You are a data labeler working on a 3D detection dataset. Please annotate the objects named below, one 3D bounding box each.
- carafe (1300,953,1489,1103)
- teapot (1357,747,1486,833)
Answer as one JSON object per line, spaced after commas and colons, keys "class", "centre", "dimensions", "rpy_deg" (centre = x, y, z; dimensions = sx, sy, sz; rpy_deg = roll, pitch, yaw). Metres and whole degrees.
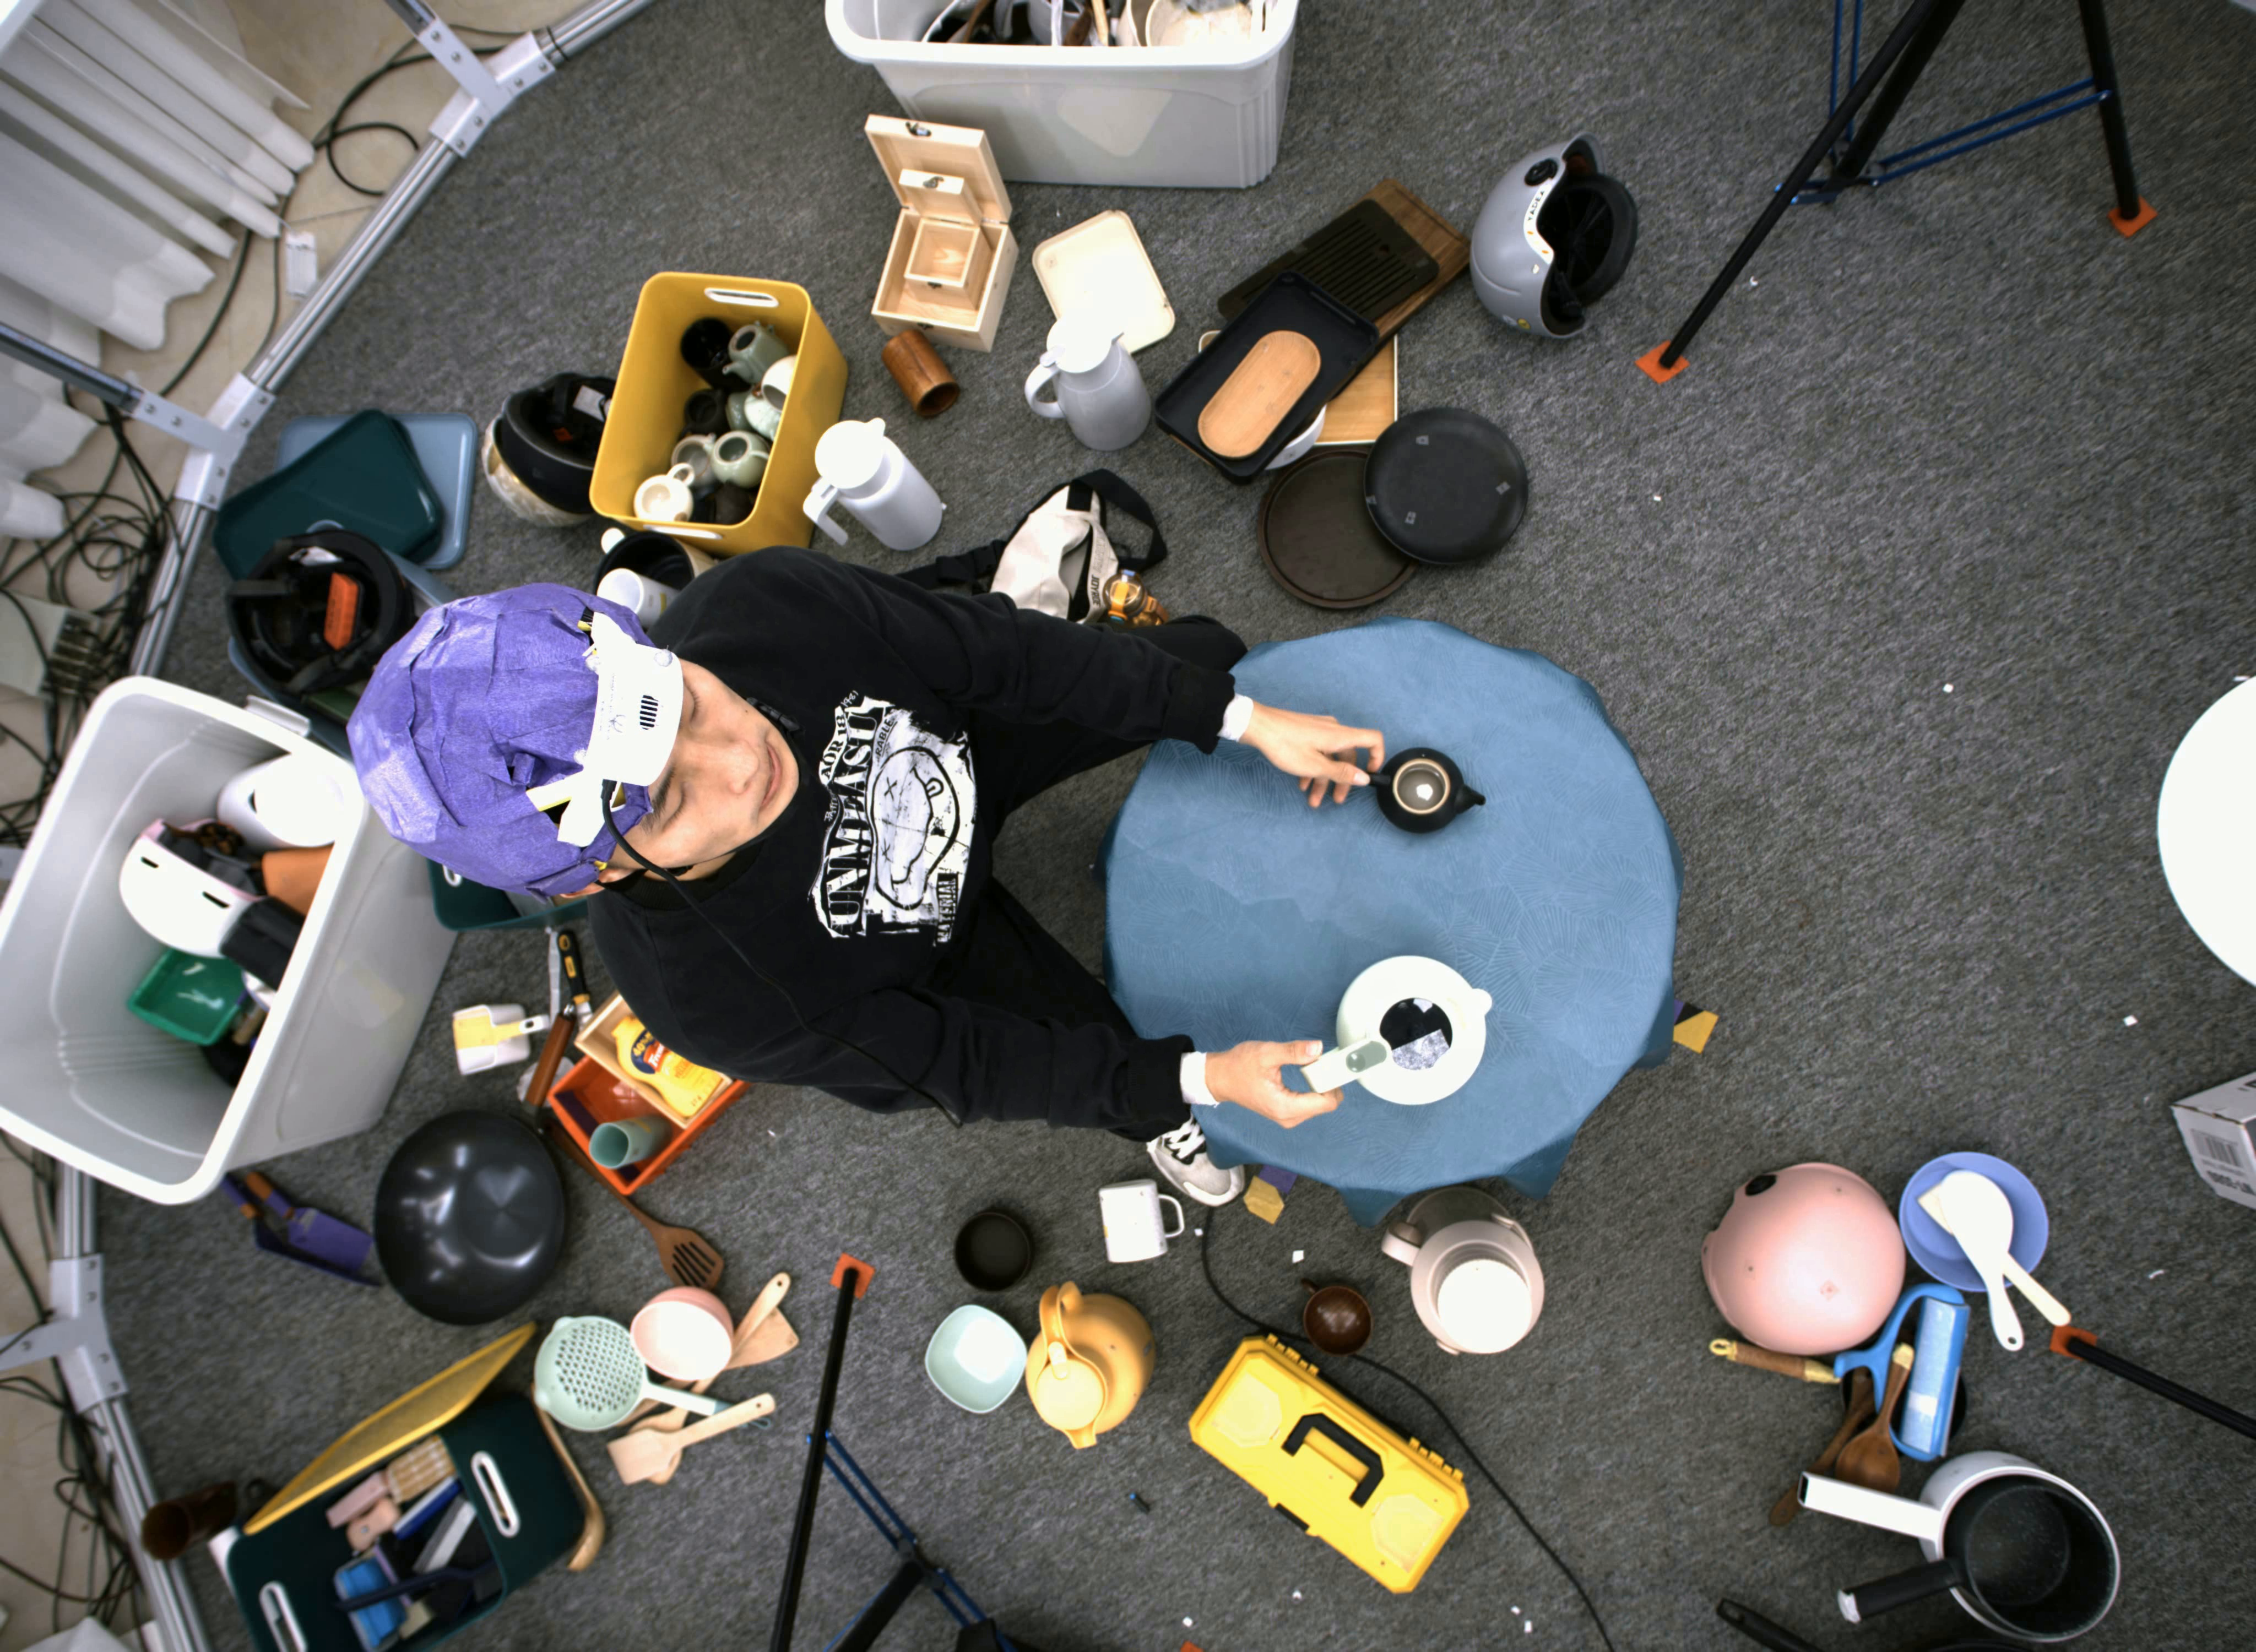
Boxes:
{"class": "carafe", "centre": [0.258, 0.201, 1.331], "dimensions": [0.188, 0.256, 0.143], "rpy_deg": [-28, 82, 10]}
{"class": "teapot", "centre": [0.304, -0.040, 1.433], "dimensions": [0.133, 0.053, 0.090], "rpy_deg": [13, 87, 11]}
